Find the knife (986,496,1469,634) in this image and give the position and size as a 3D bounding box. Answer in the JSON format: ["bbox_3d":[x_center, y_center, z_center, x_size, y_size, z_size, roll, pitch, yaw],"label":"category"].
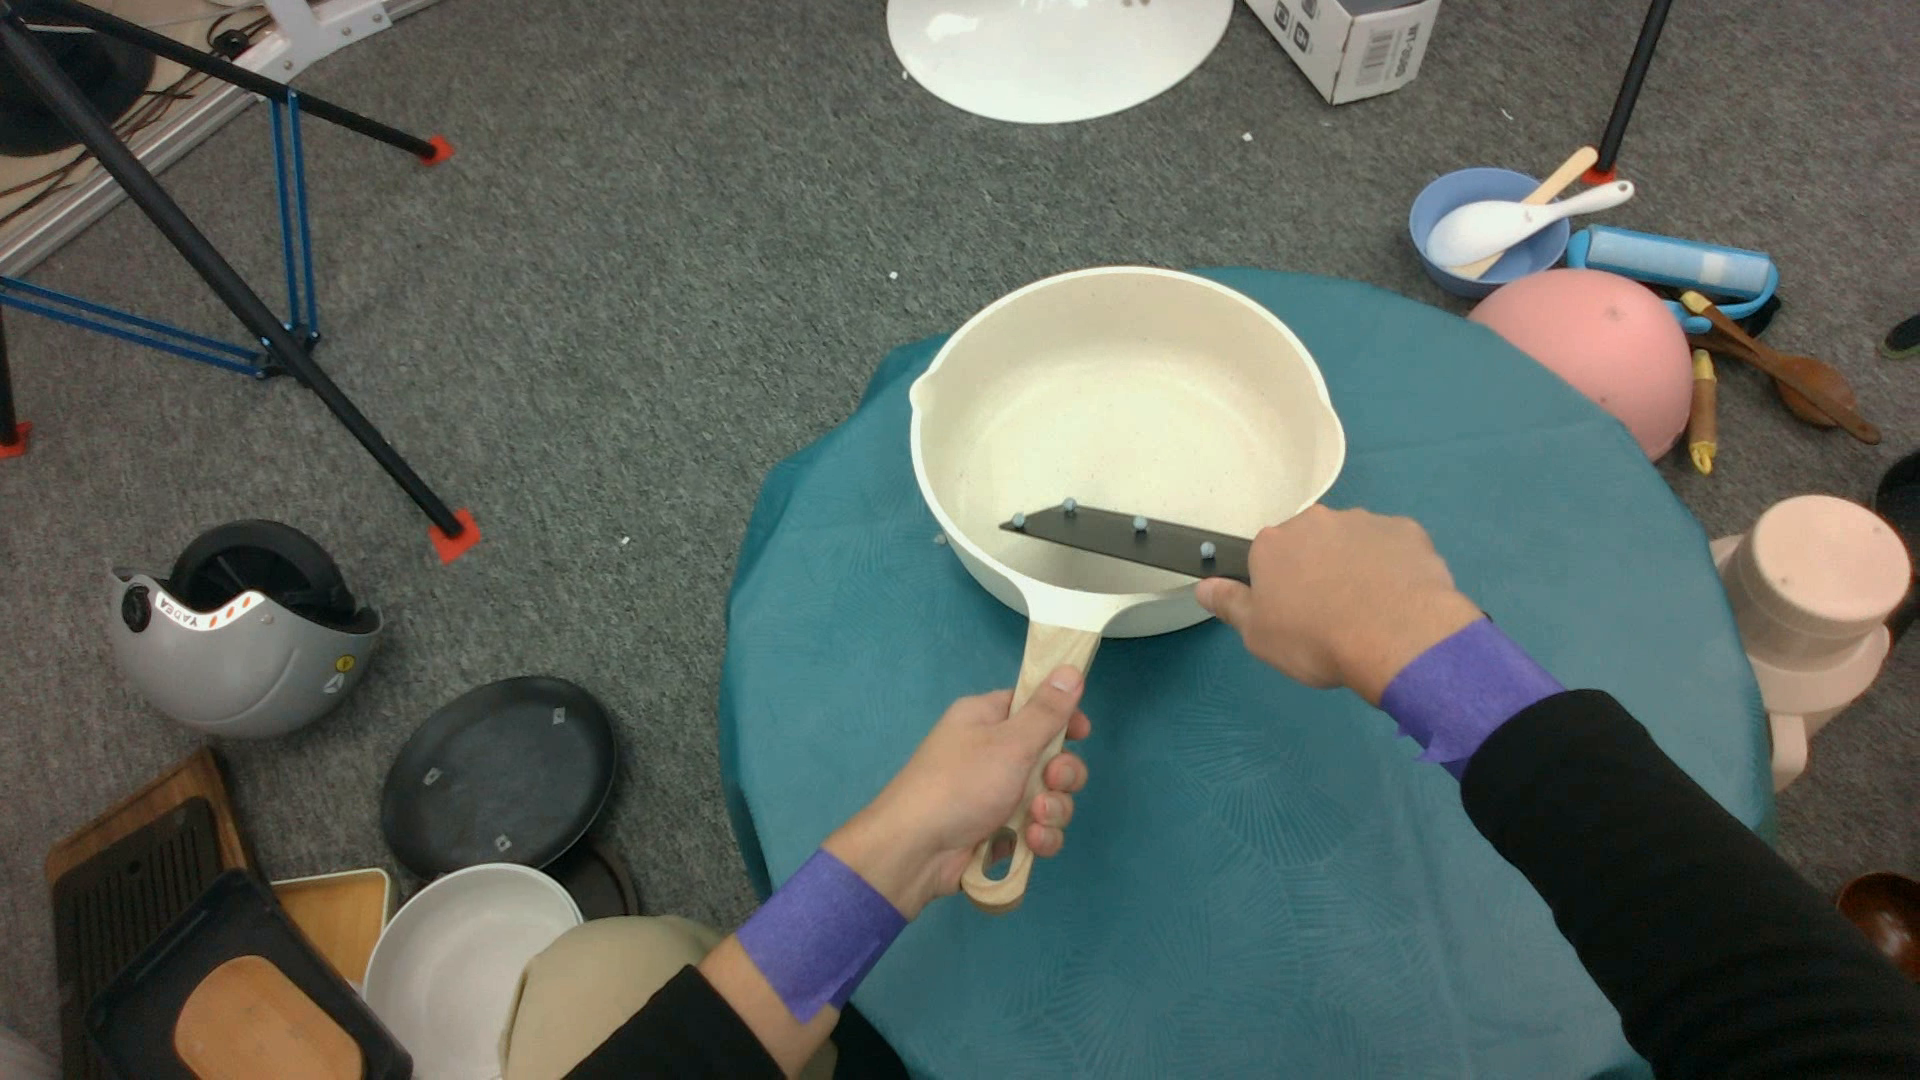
[{"bbox_3d":[0.131,0.005,0.733,0.081,0.021,0.302,-17,20,-33],"label":"knife"}]

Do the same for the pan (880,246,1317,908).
[{"bbox_3d":[0.061,0.012,0.804,0.263,0.101,0.437,9,60,10],"label":"pan"}]
